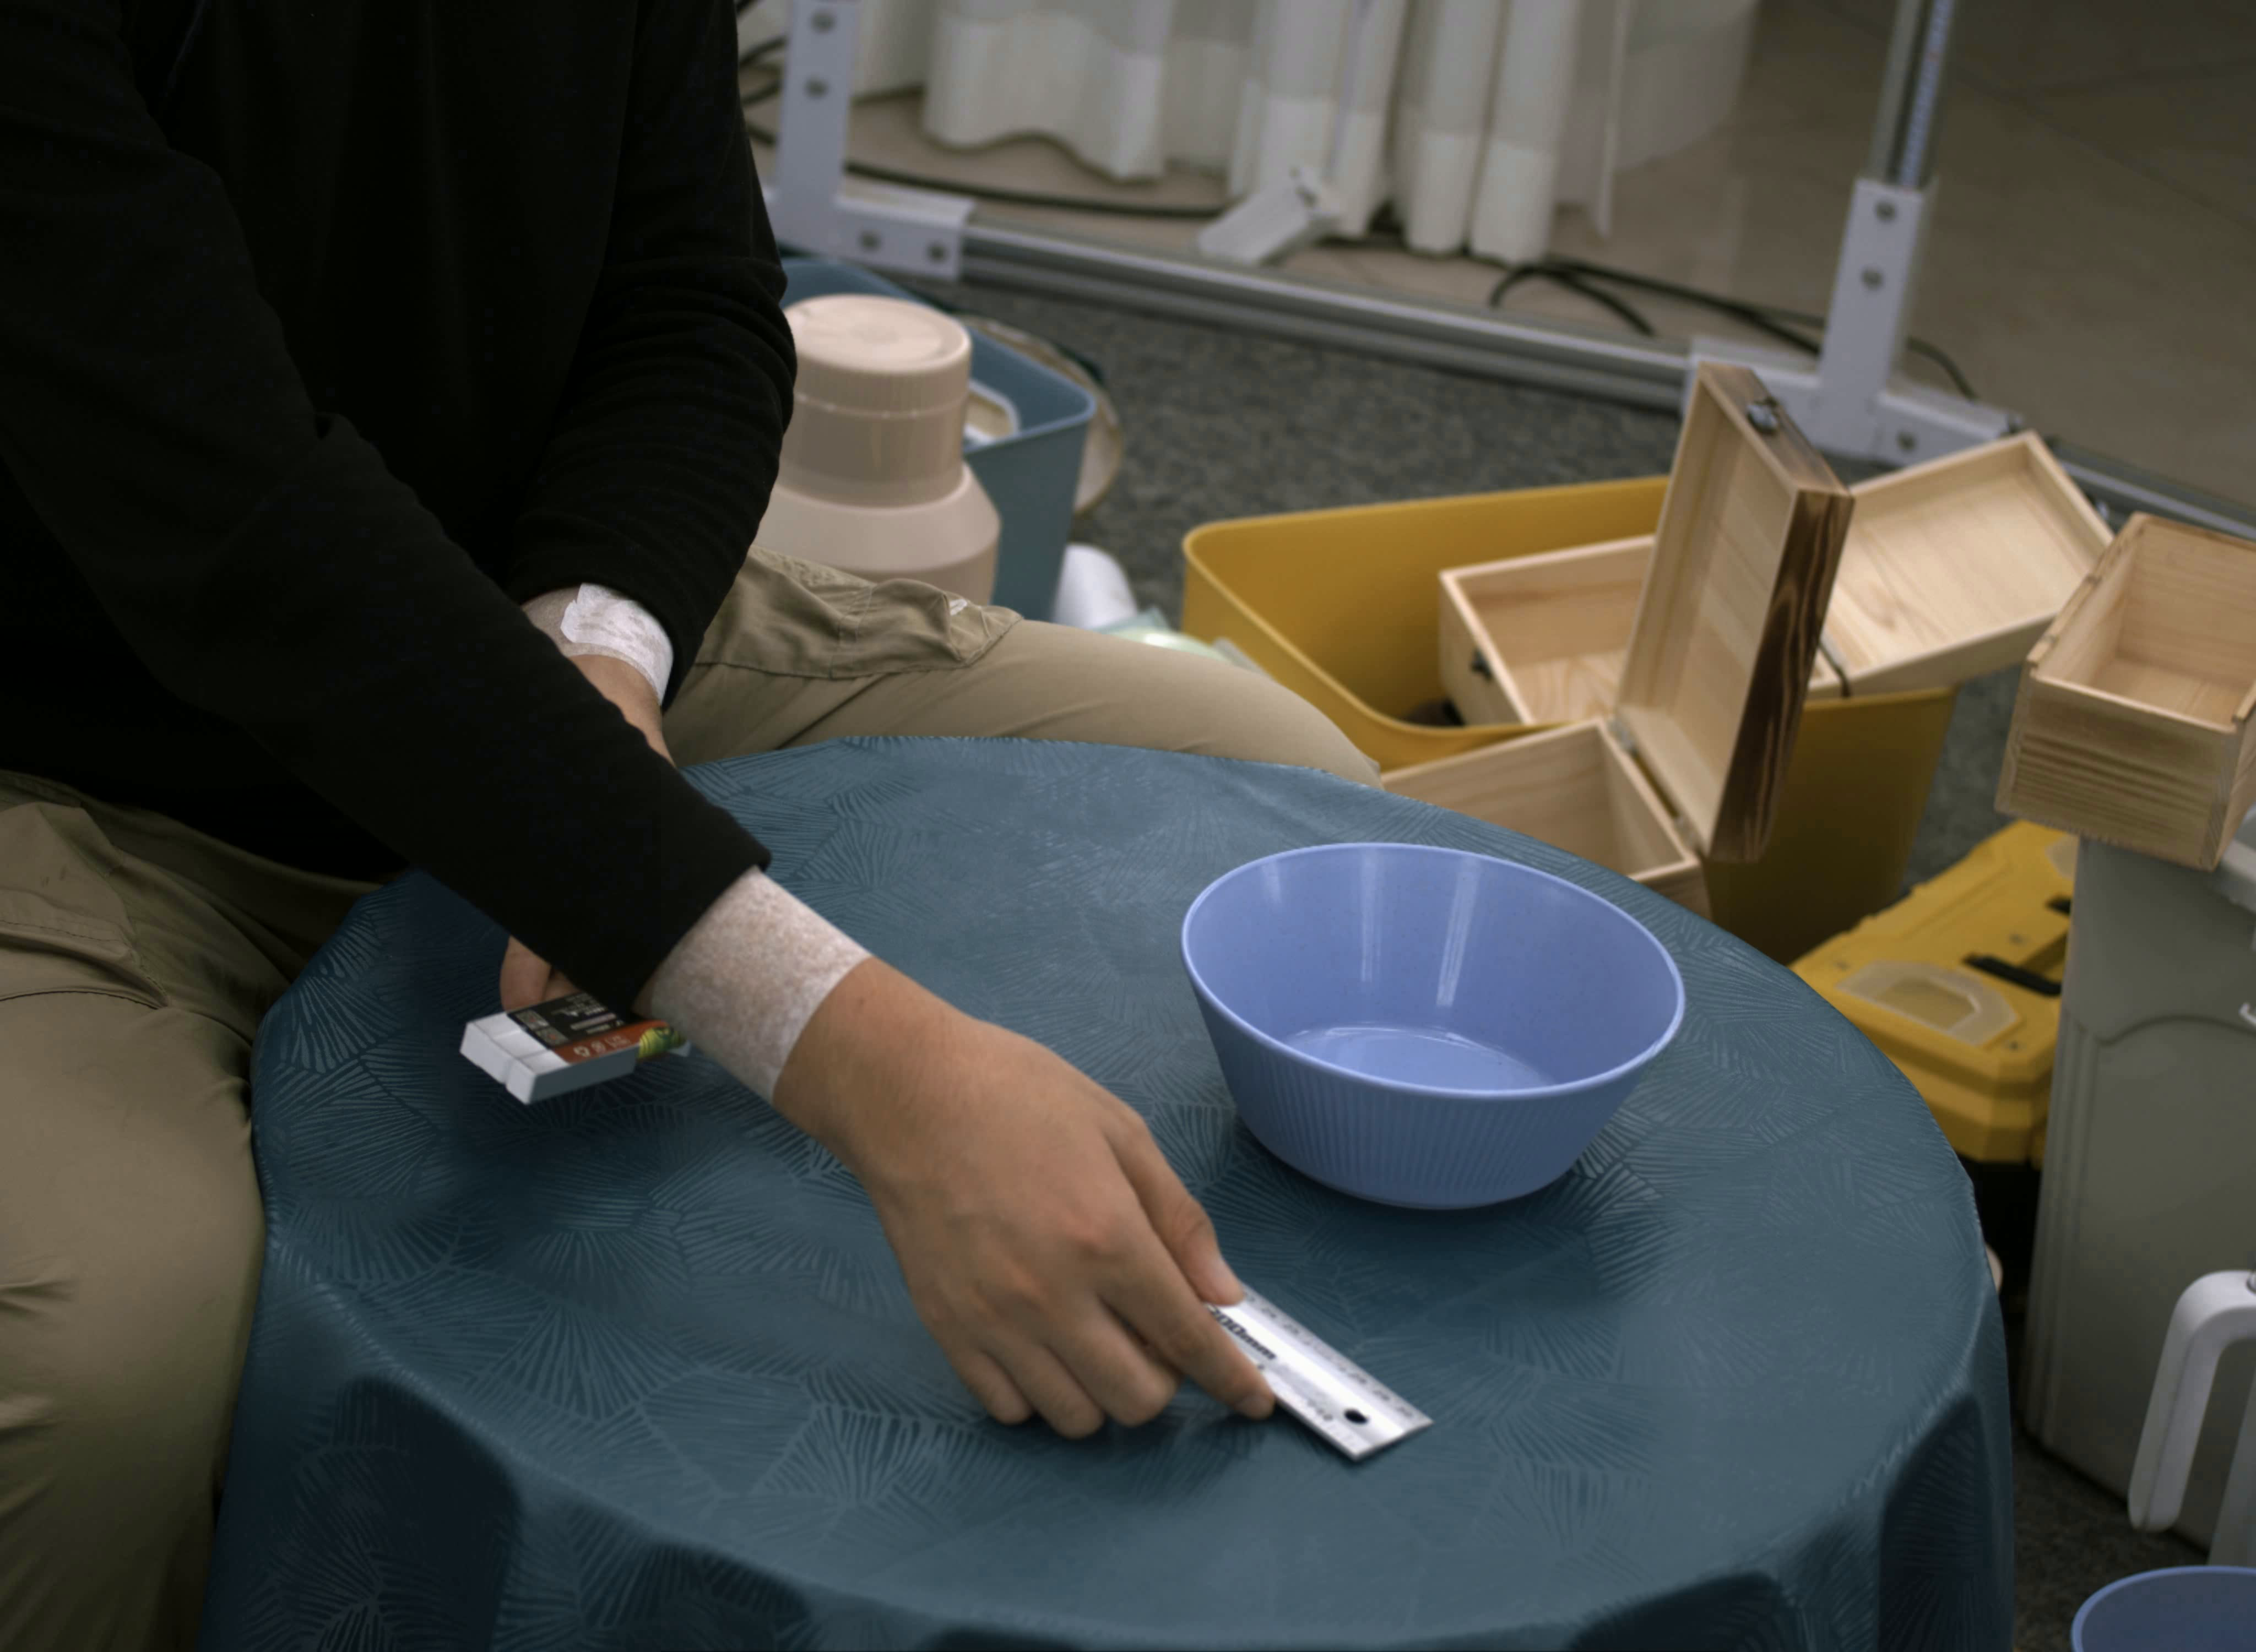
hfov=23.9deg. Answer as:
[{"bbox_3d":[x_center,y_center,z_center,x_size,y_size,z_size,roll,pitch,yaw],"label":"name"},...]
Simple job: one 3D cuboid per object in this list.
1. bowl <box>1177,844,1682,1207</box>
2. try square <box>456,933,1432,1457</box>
[{"bbox_3d":[0.100,0.075,1.843,0.175,0.070,0.177,5,27,-3],"label":"bowl"},{"bbox_3d":[-0.063,0.130,1.723,0.315,0.016,0.151,35,35,32],"label":"try square"}]
